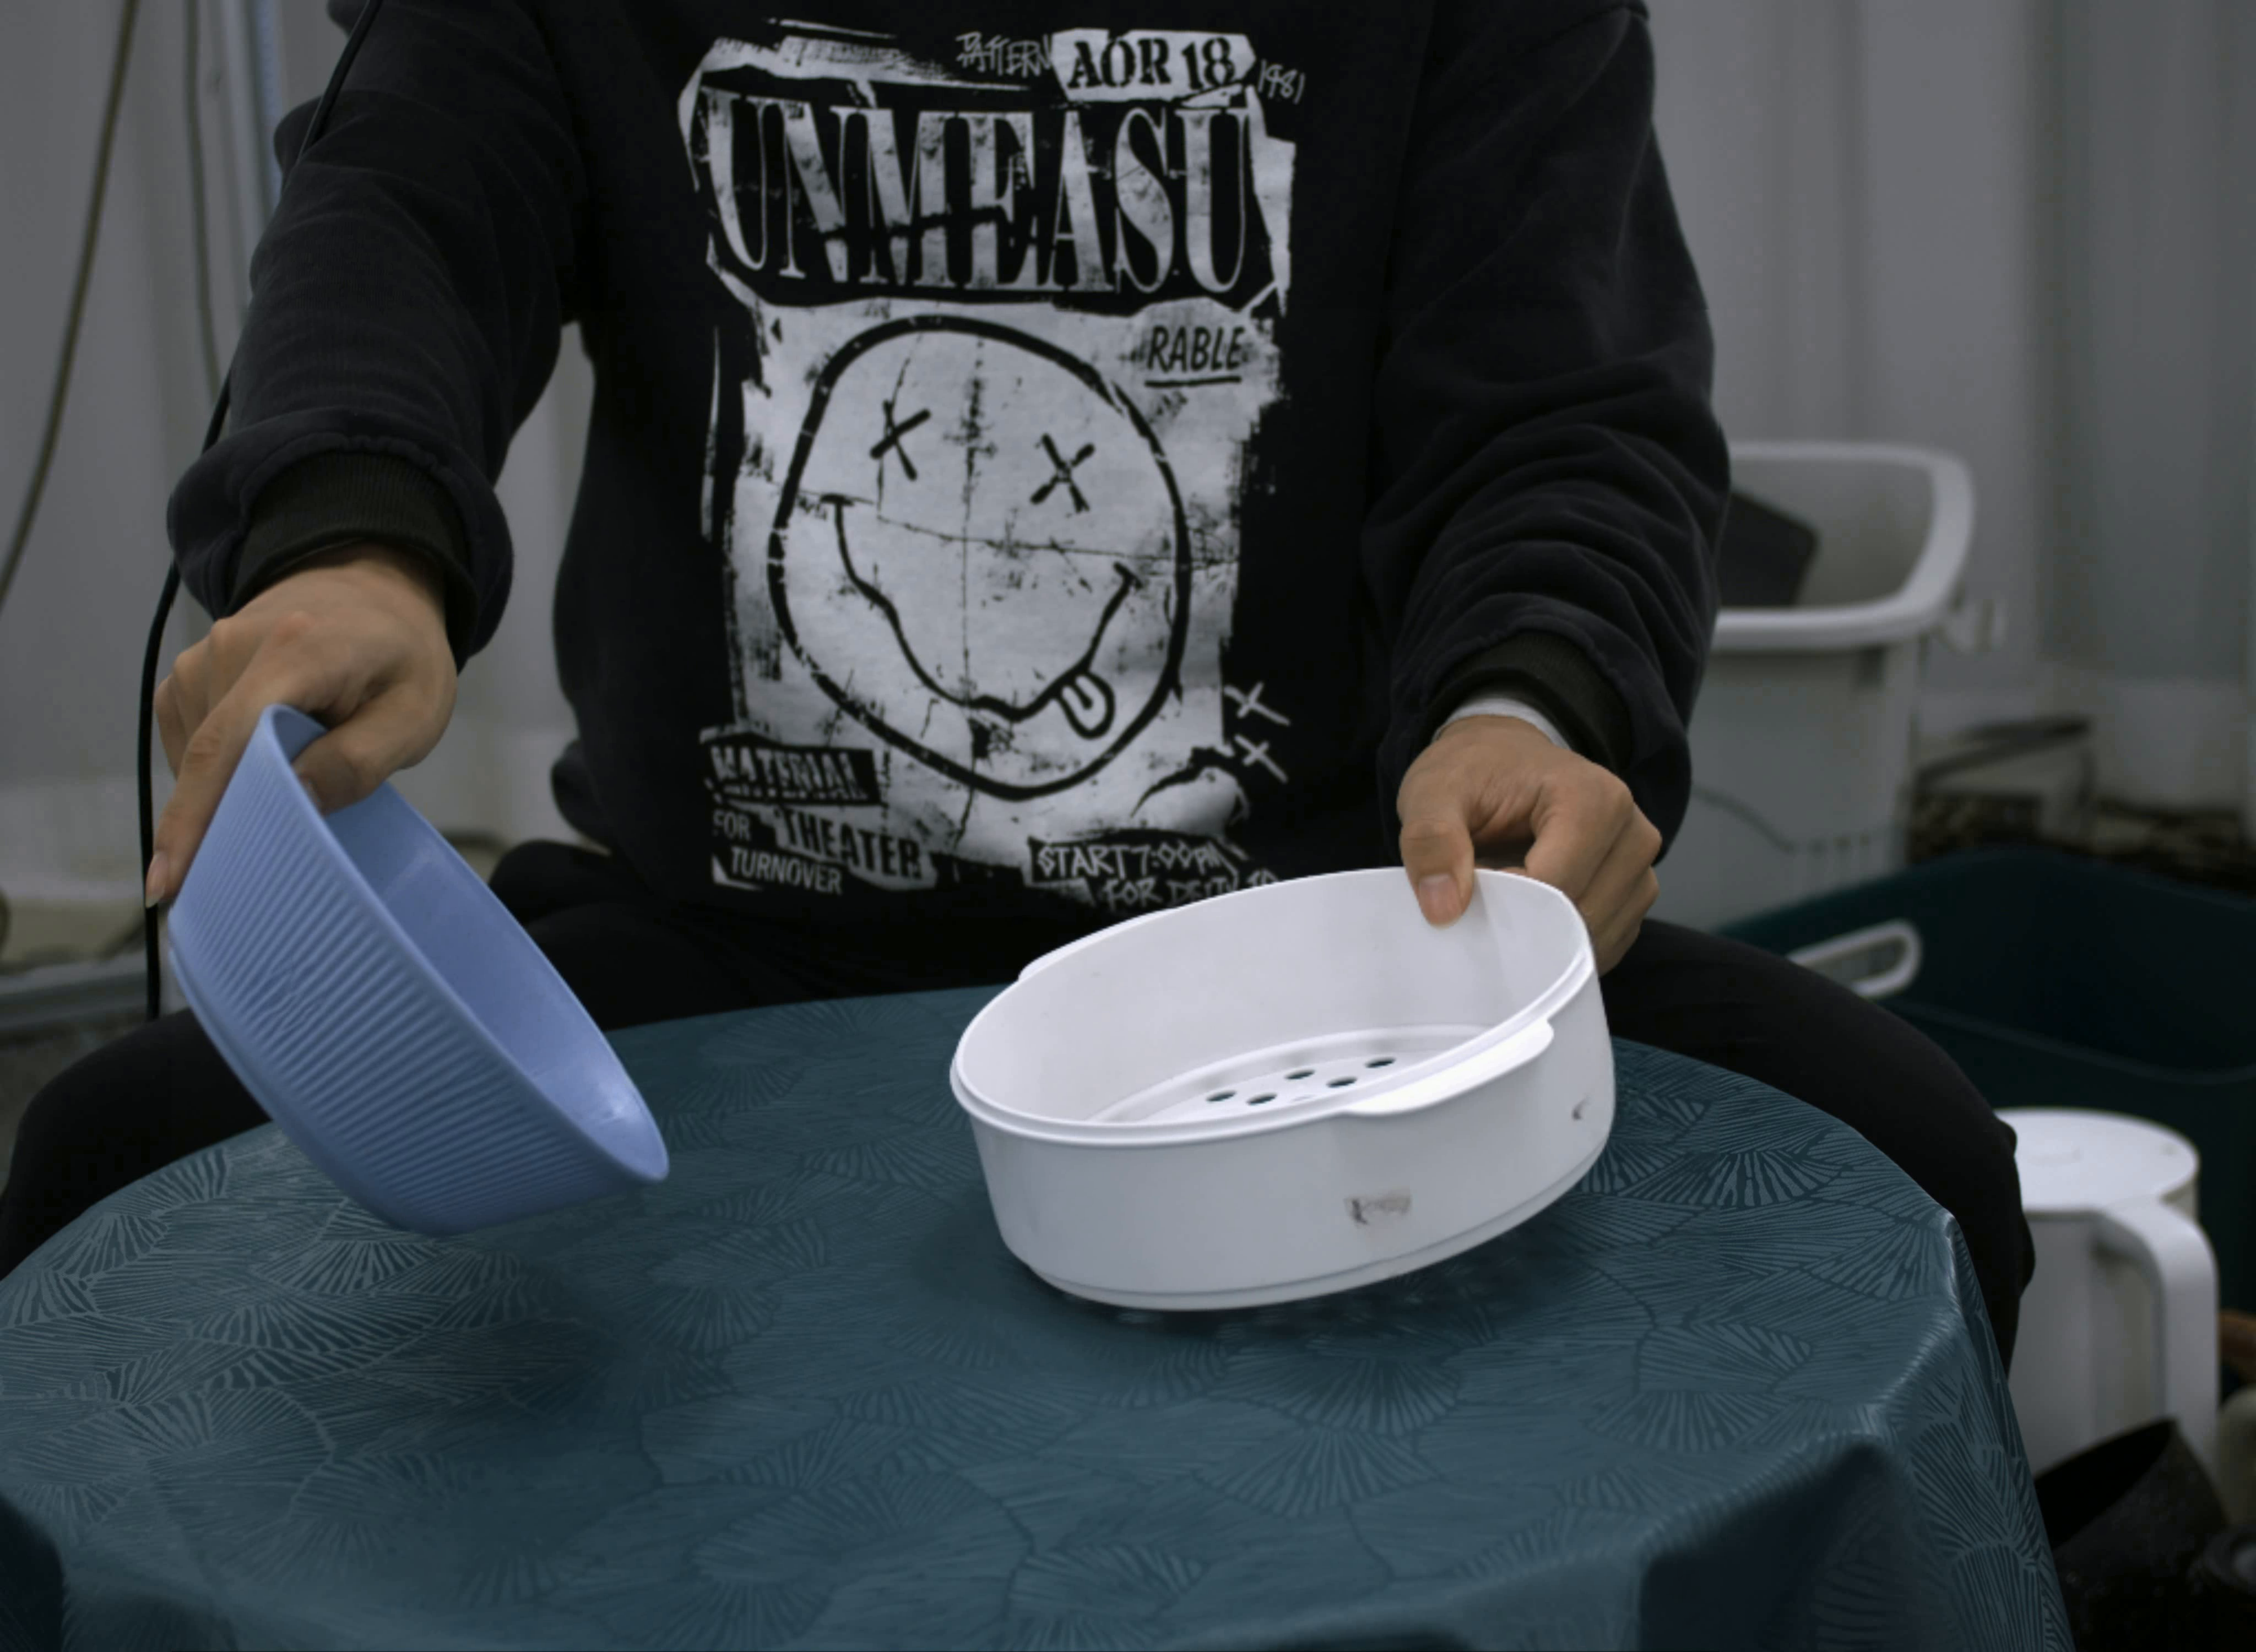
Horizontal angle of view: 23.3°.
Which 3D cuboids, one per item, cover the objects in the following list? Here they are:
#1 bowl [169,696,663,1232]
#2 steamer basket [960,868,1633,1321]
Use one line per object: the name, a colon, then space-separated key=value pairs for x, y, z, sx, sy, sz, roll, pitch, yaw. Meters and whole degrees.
bowl: x=-0.213 y=0.051 z=1.565 sx=0.070 sy=0.175 sz=0.177 roll=-39 pitch=17 yaw=2
steamer basket: x=0.053 y=0.081 z=1.648 sx=0.201 sy=0.069 sz=0.232 roll=-22 pitch=22 yaw=-26
